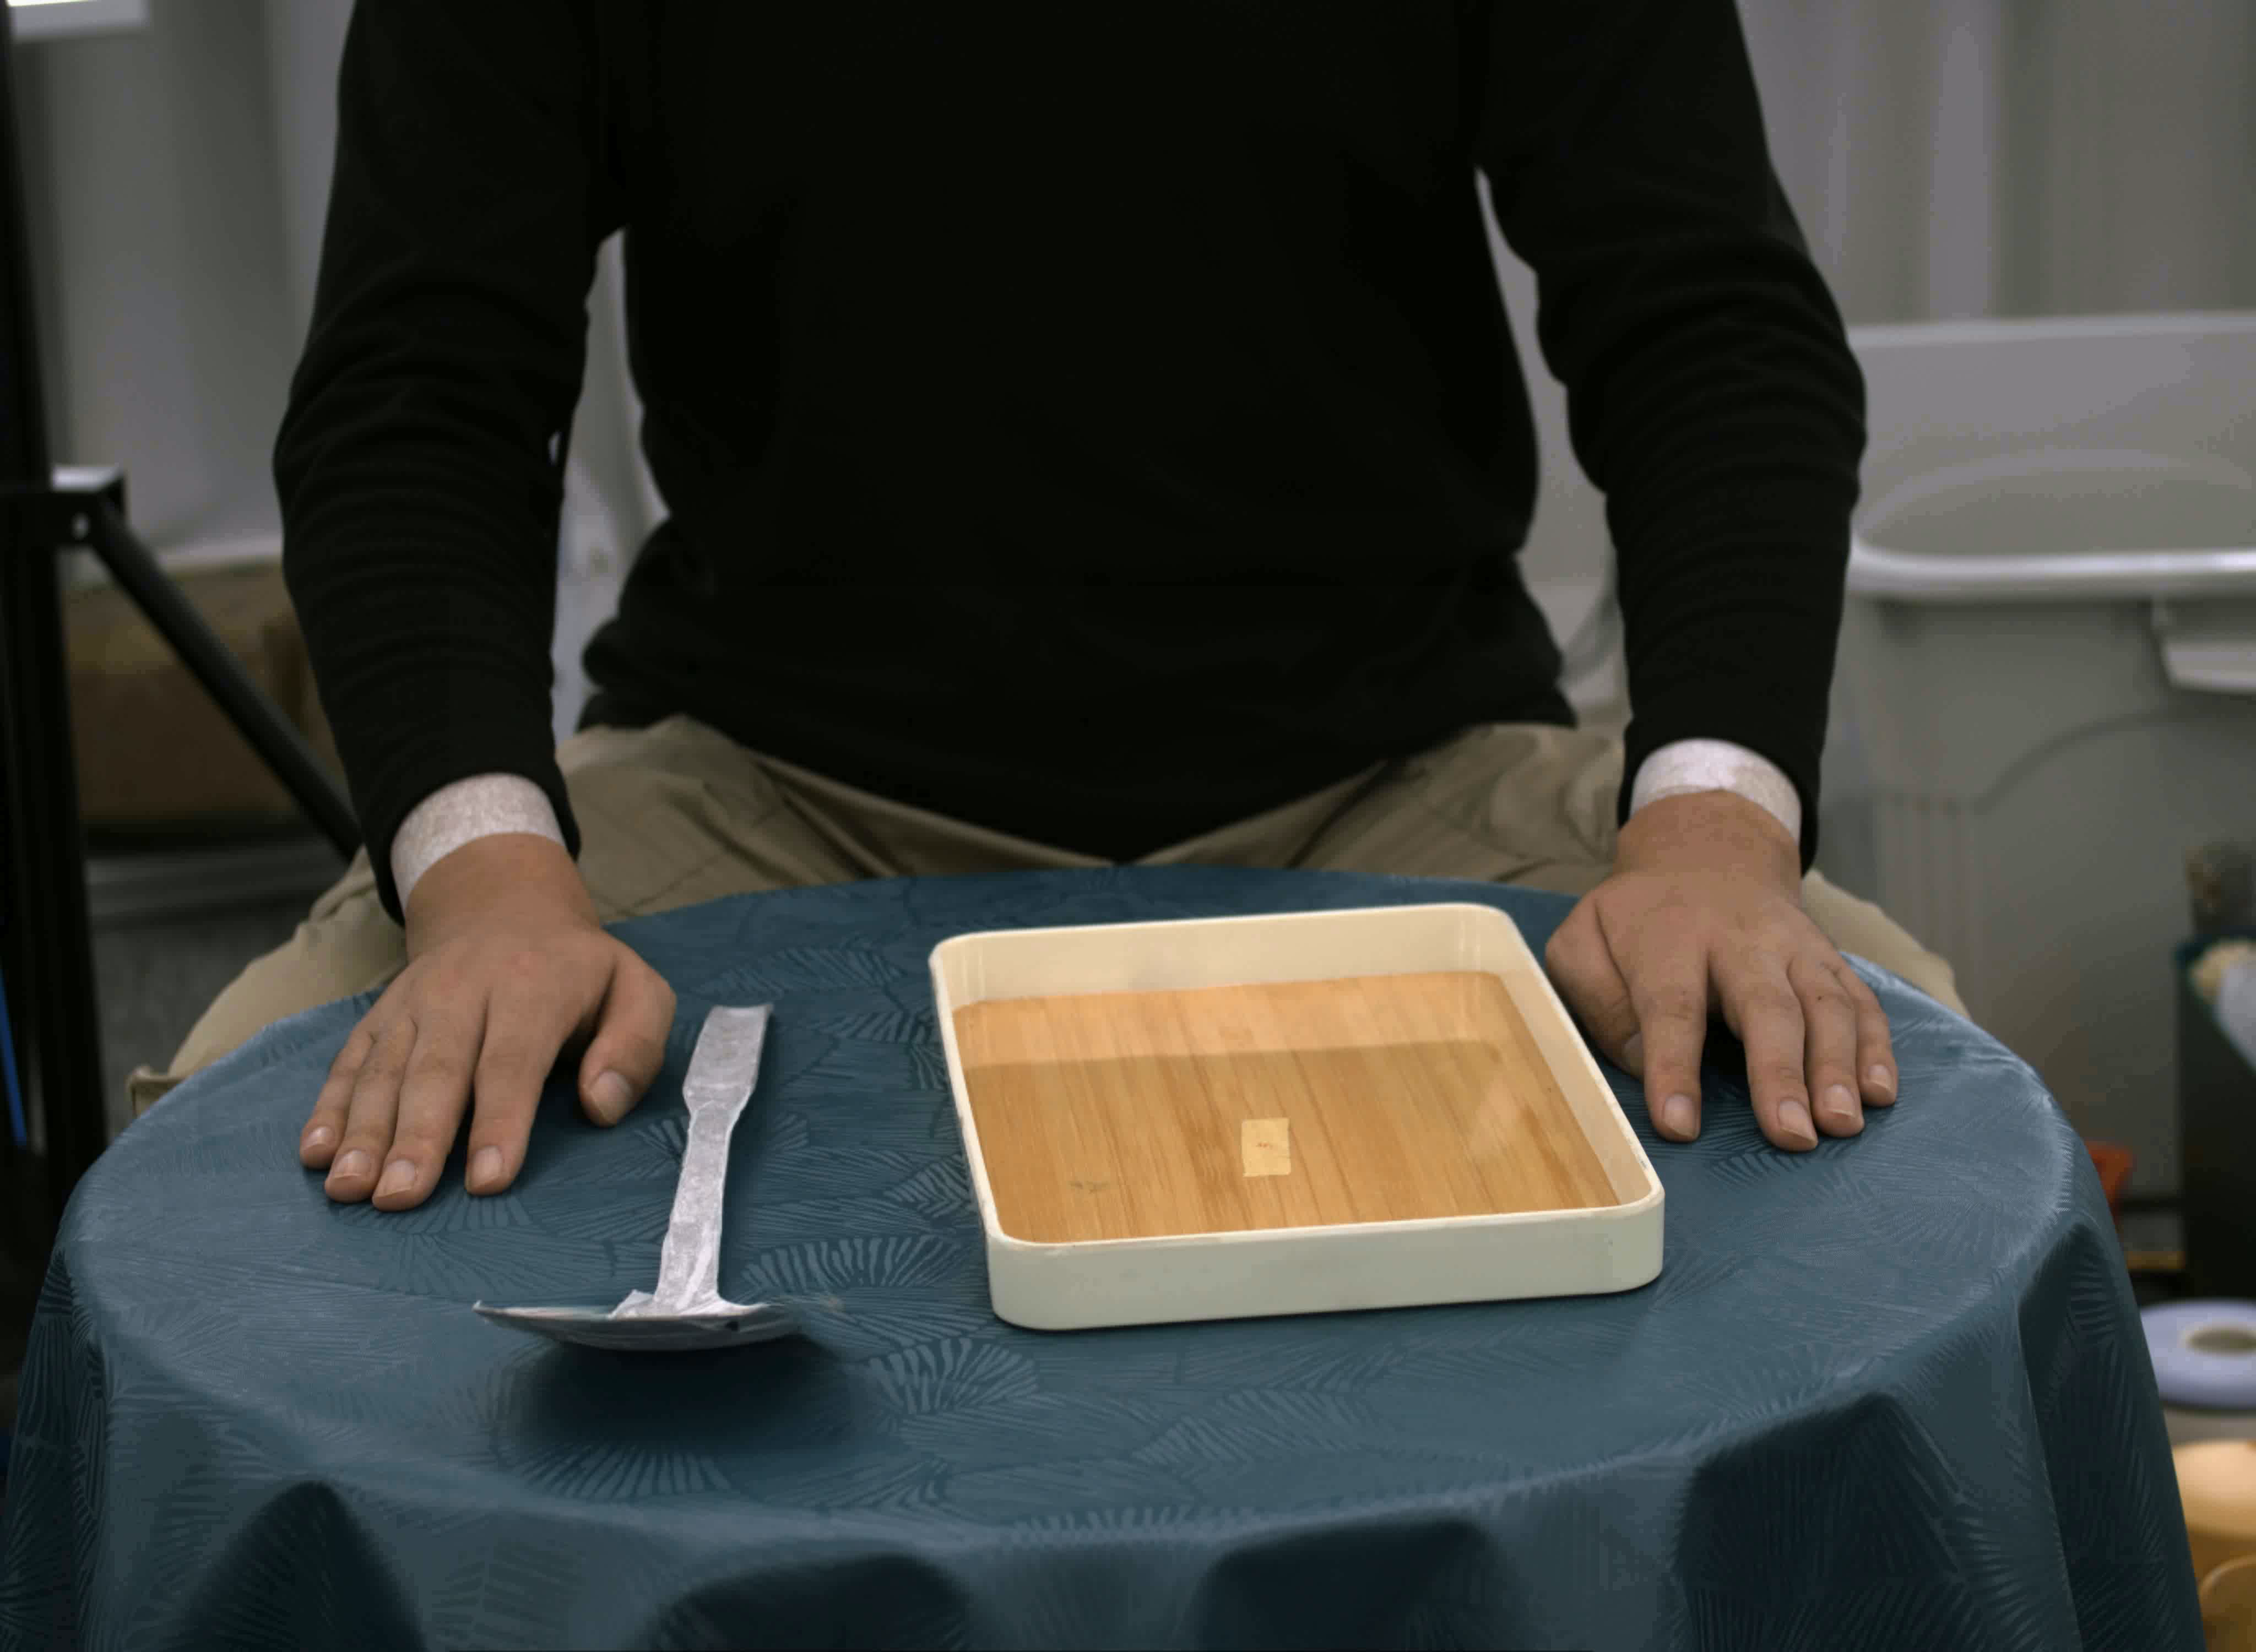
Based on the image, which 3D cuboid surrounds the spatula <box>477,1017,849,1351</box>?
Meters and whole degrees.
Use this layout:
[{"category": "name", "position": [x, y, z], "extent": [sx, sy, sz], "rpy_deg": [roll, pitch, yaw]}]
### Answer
[{"category": "spatula", "position": [-0.121, 0.095, 1.552], "extent": [0.098, 0.045, 0.366], "rpy_deg": [-3, 16, 1]}]

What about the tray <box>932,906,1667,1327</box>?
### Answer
[{"category": "tray", "position": [0.044, 0.083, 1.590], "extent": [0.190, 0.027, 0.302], "rpy_deg": [-4, 16, -3]}]
